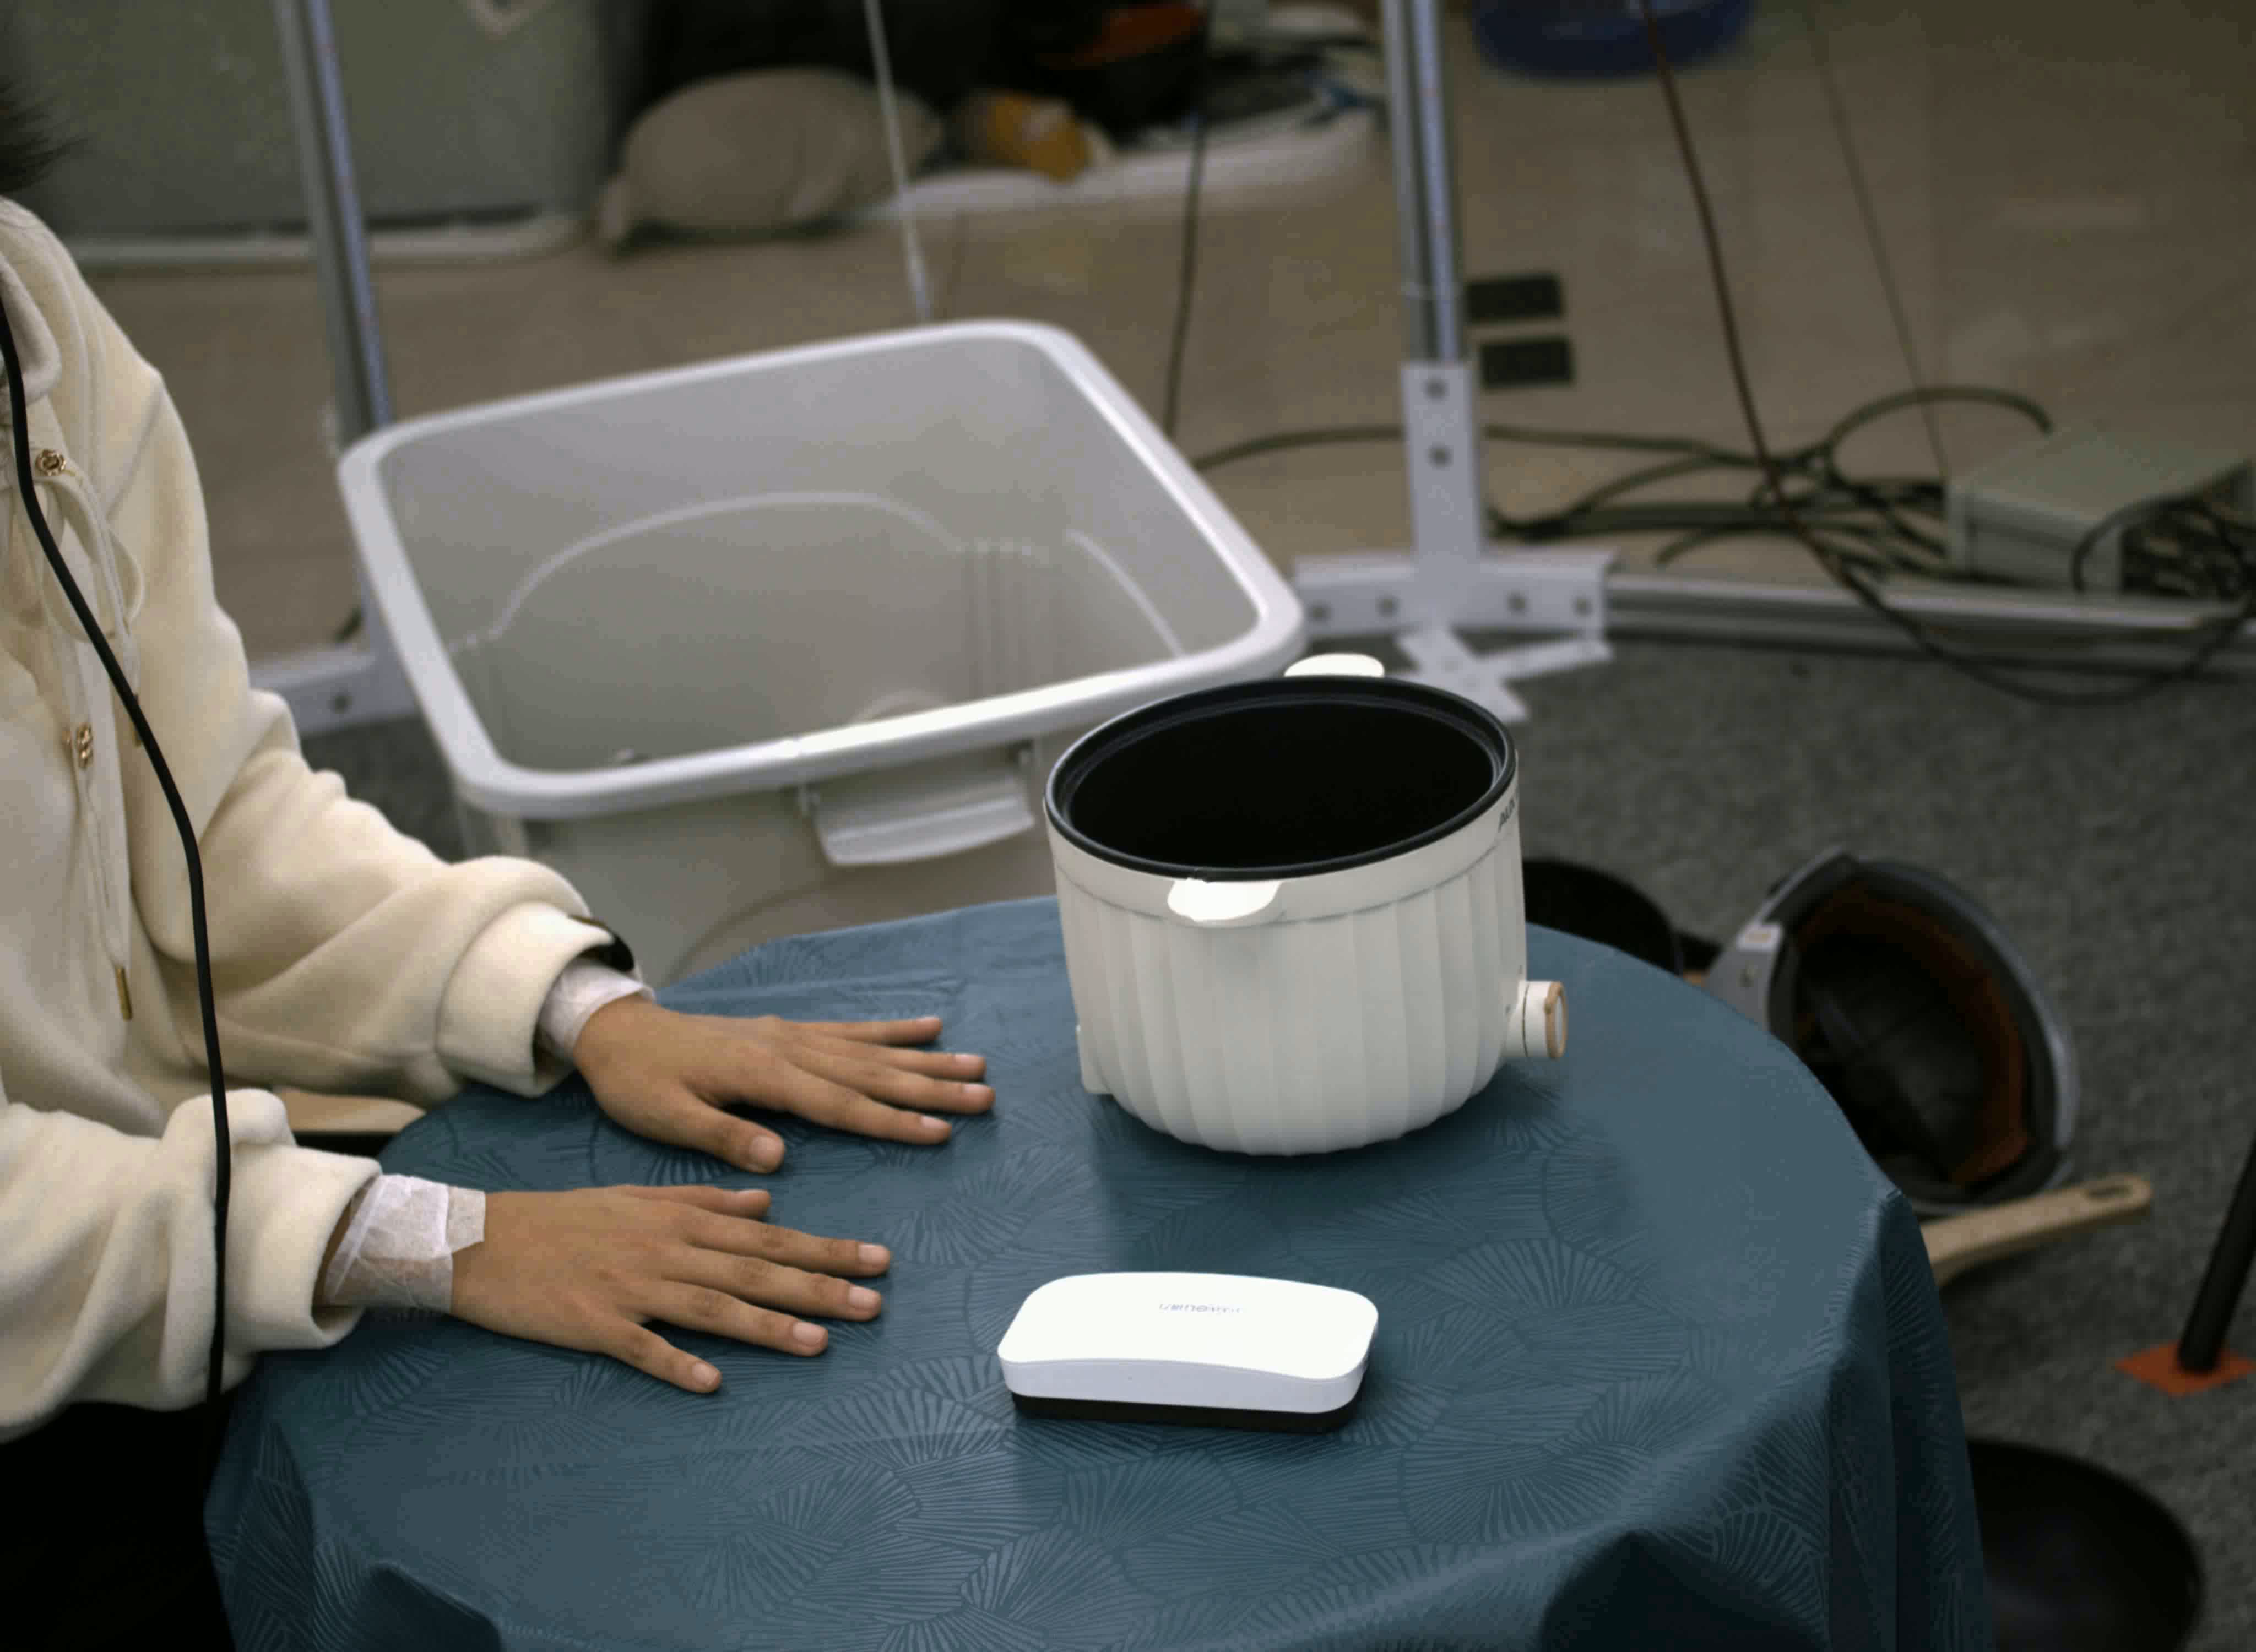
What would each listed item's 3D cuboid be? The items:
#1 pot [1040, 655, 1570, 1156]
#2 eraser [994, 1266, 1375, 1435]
[{"bbox_3d":[0.070,0.038,2.180,0.190,0.145,0.237,-3,26,16],"label":"pot"},{"bbox_3d":[0.021,0.186,2.007,0.131,0.035,0.062,2,24,17],"label":"eraser"}]
